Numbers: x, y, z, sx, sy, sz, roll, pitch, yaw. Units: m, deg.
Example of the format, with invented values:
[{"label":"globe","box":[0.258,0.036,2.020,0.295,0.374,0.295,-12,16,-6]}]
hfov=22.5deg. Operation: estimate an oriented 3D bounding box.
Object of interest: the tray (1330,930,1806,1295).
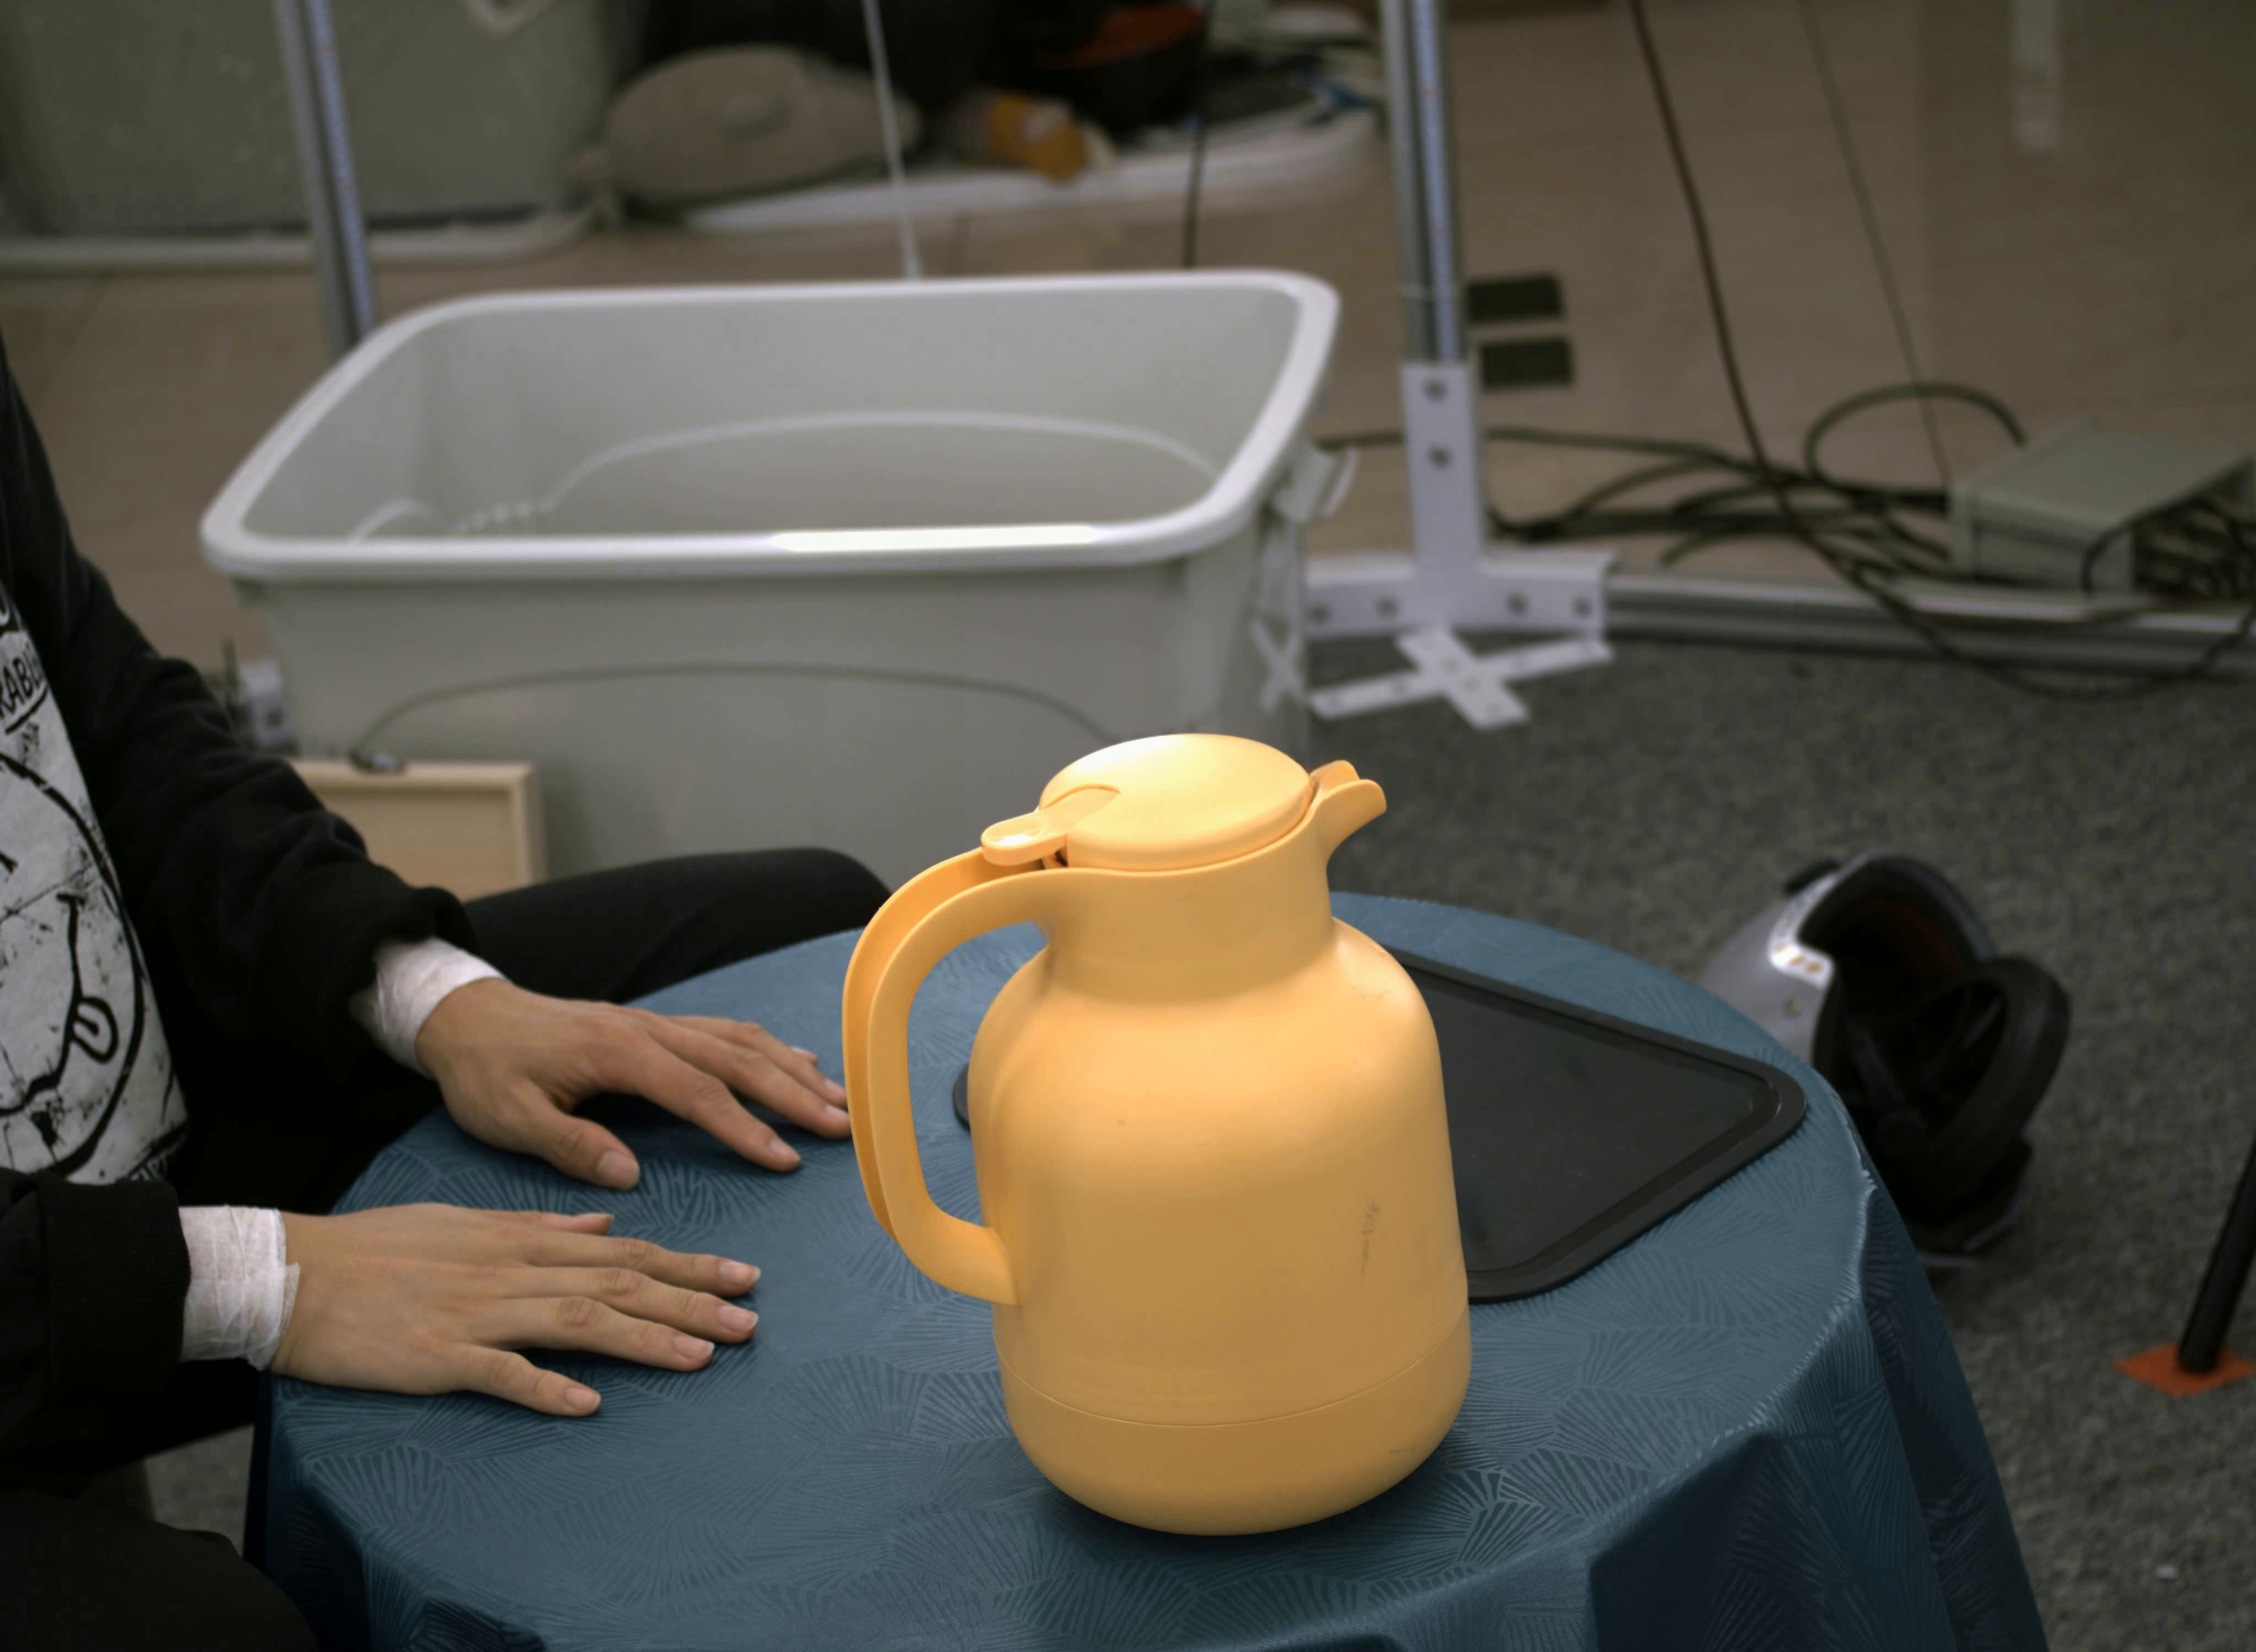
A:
[{"label":"tray","box":[0.087,0.103,2.197,0.323,0.010,0.209,18,34,41]}]

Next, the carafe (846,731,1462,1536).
[{"label":"carafe","box":[0.008,0.103,1.911,0.202,0.264,0.161,-13,24,-16]}]
